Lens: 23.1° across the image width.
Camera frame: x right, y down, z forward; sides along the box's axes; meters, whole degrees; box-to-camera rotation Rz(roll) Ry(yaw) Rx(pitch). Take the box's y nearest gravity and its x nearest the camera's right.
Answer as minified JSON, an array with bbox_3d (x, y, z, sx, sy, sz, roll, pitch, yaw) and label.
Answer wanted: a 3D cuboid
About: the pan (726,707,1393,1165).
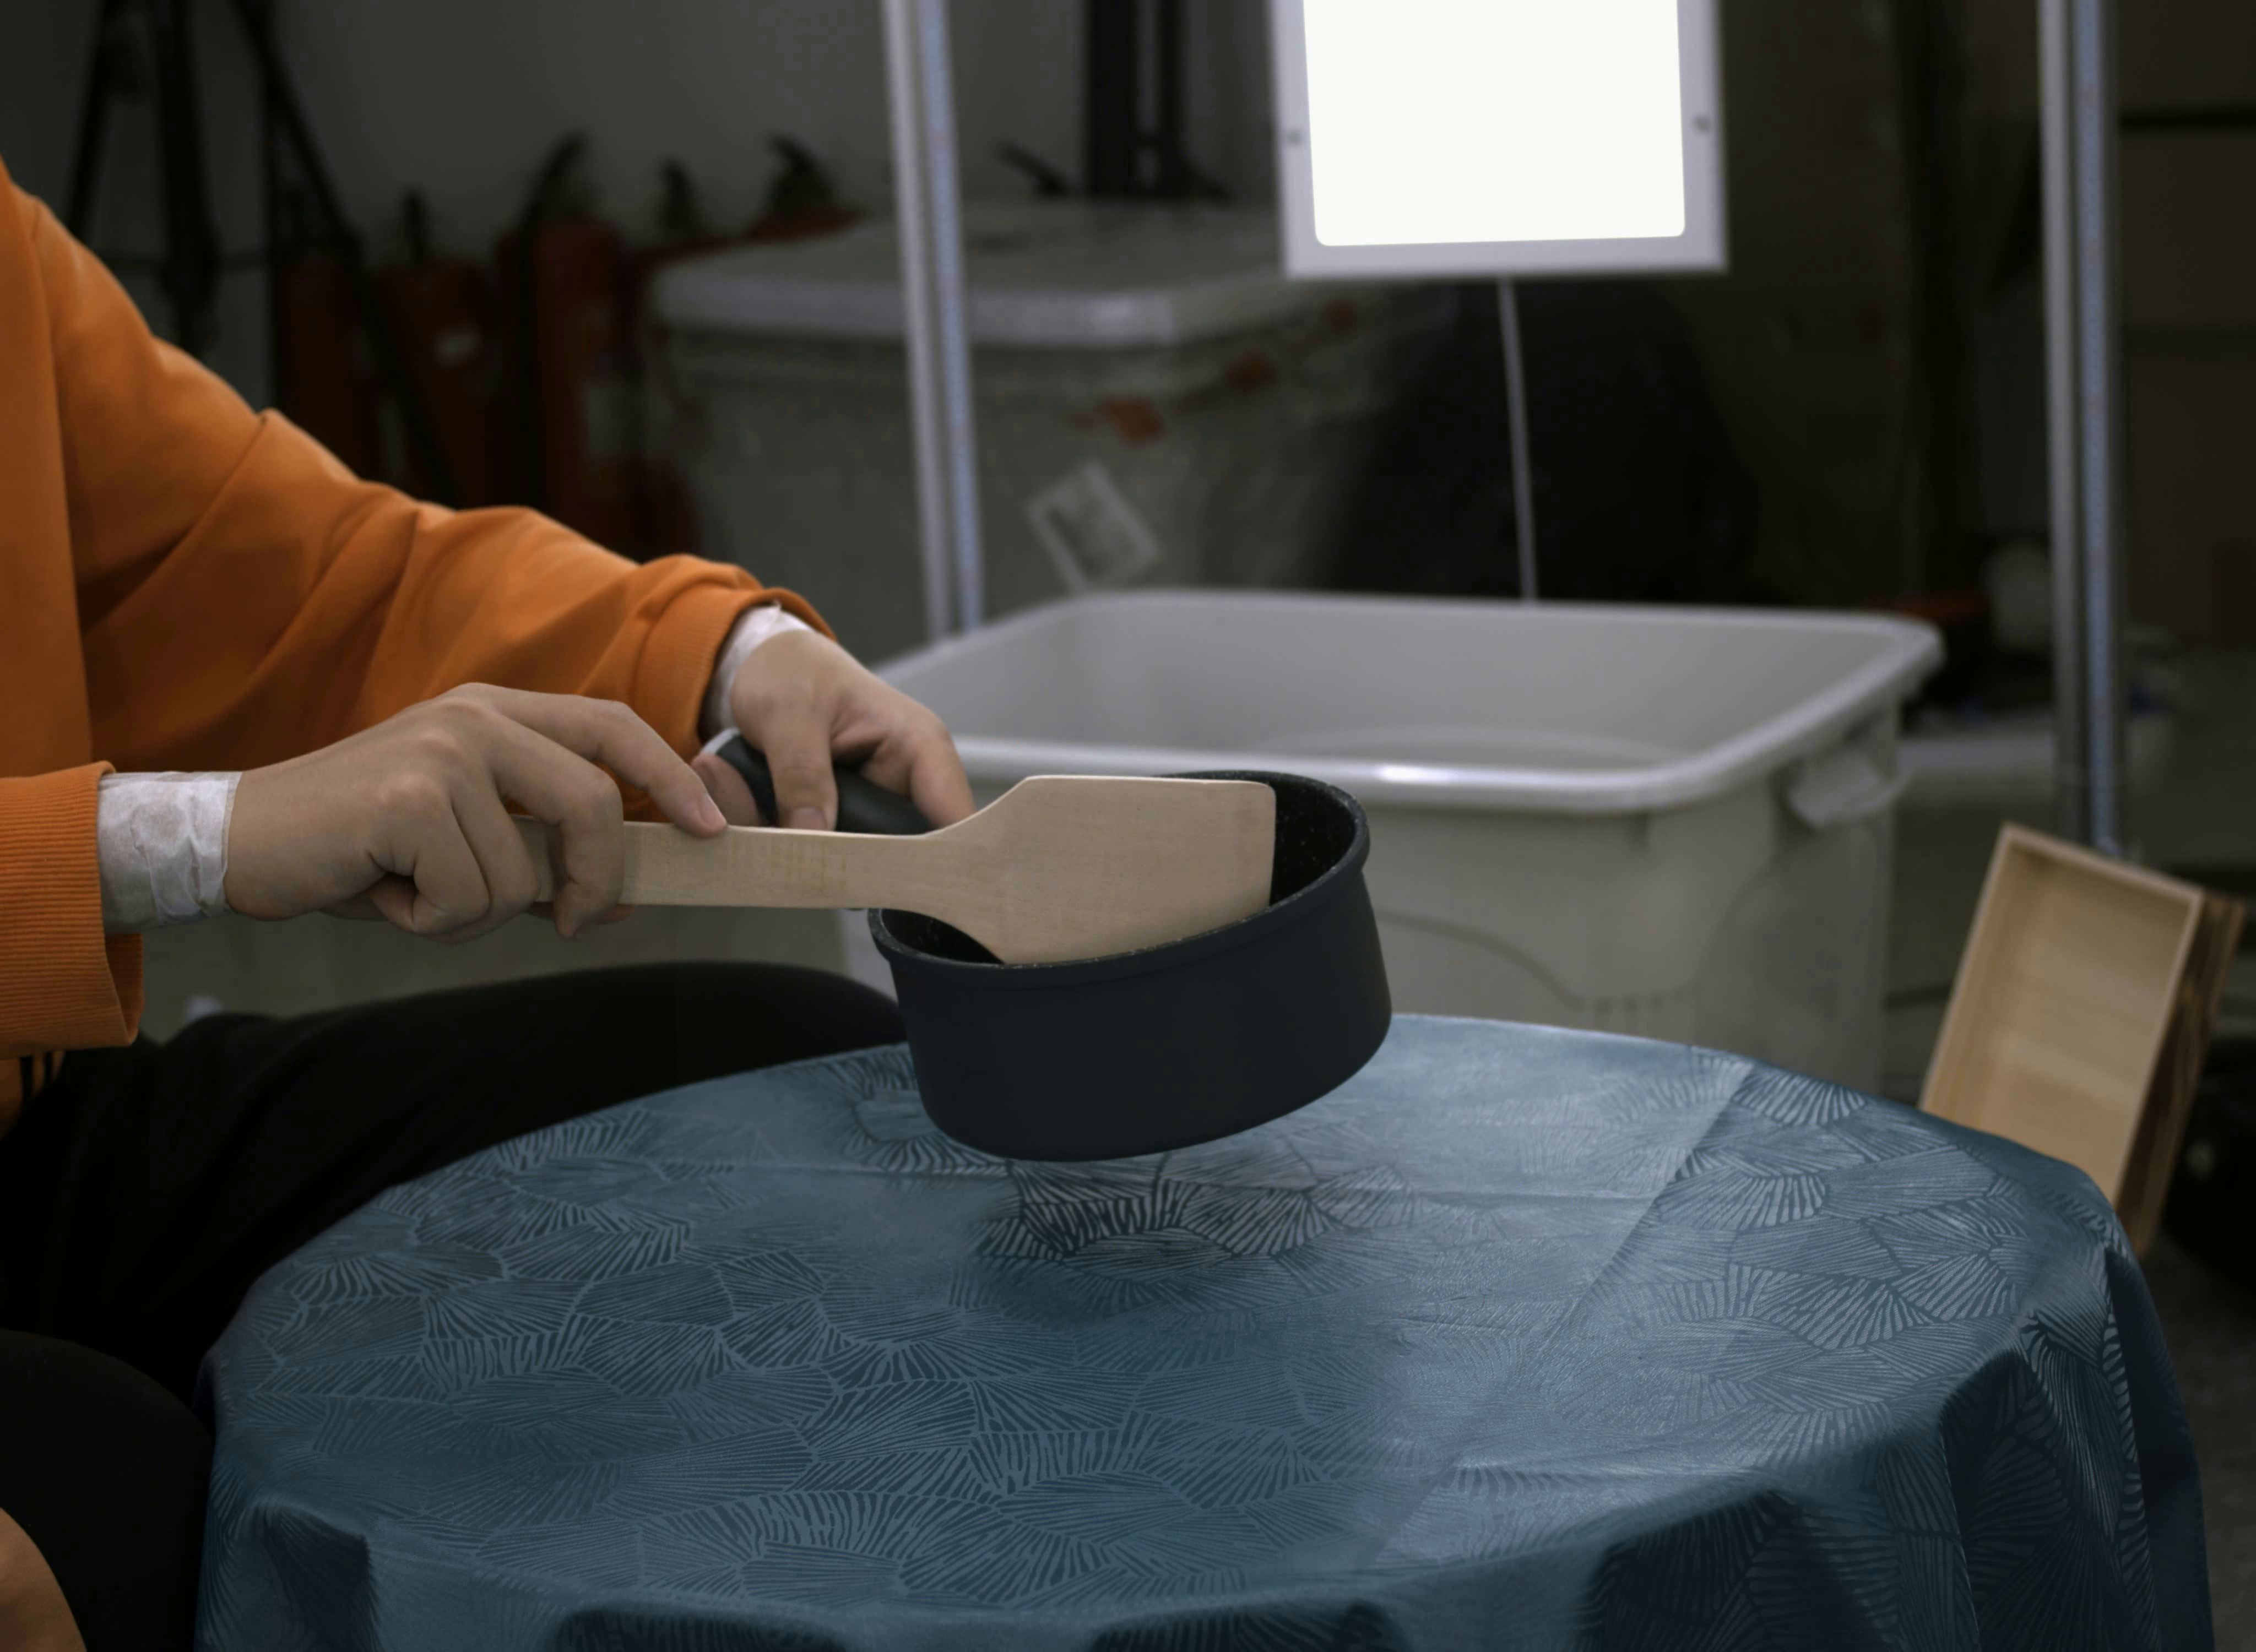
[{"bbox_3d":[-0.041,0.030,1.918,0.168,0.086,0.335,-22,23,-28],"label":"pan"}]

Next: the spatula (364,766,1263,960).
[{"bbox_3d":[-0.100,0.013,1.781,0.290,0.073,0.011,1,17,-6],"label":"spatula"}]
